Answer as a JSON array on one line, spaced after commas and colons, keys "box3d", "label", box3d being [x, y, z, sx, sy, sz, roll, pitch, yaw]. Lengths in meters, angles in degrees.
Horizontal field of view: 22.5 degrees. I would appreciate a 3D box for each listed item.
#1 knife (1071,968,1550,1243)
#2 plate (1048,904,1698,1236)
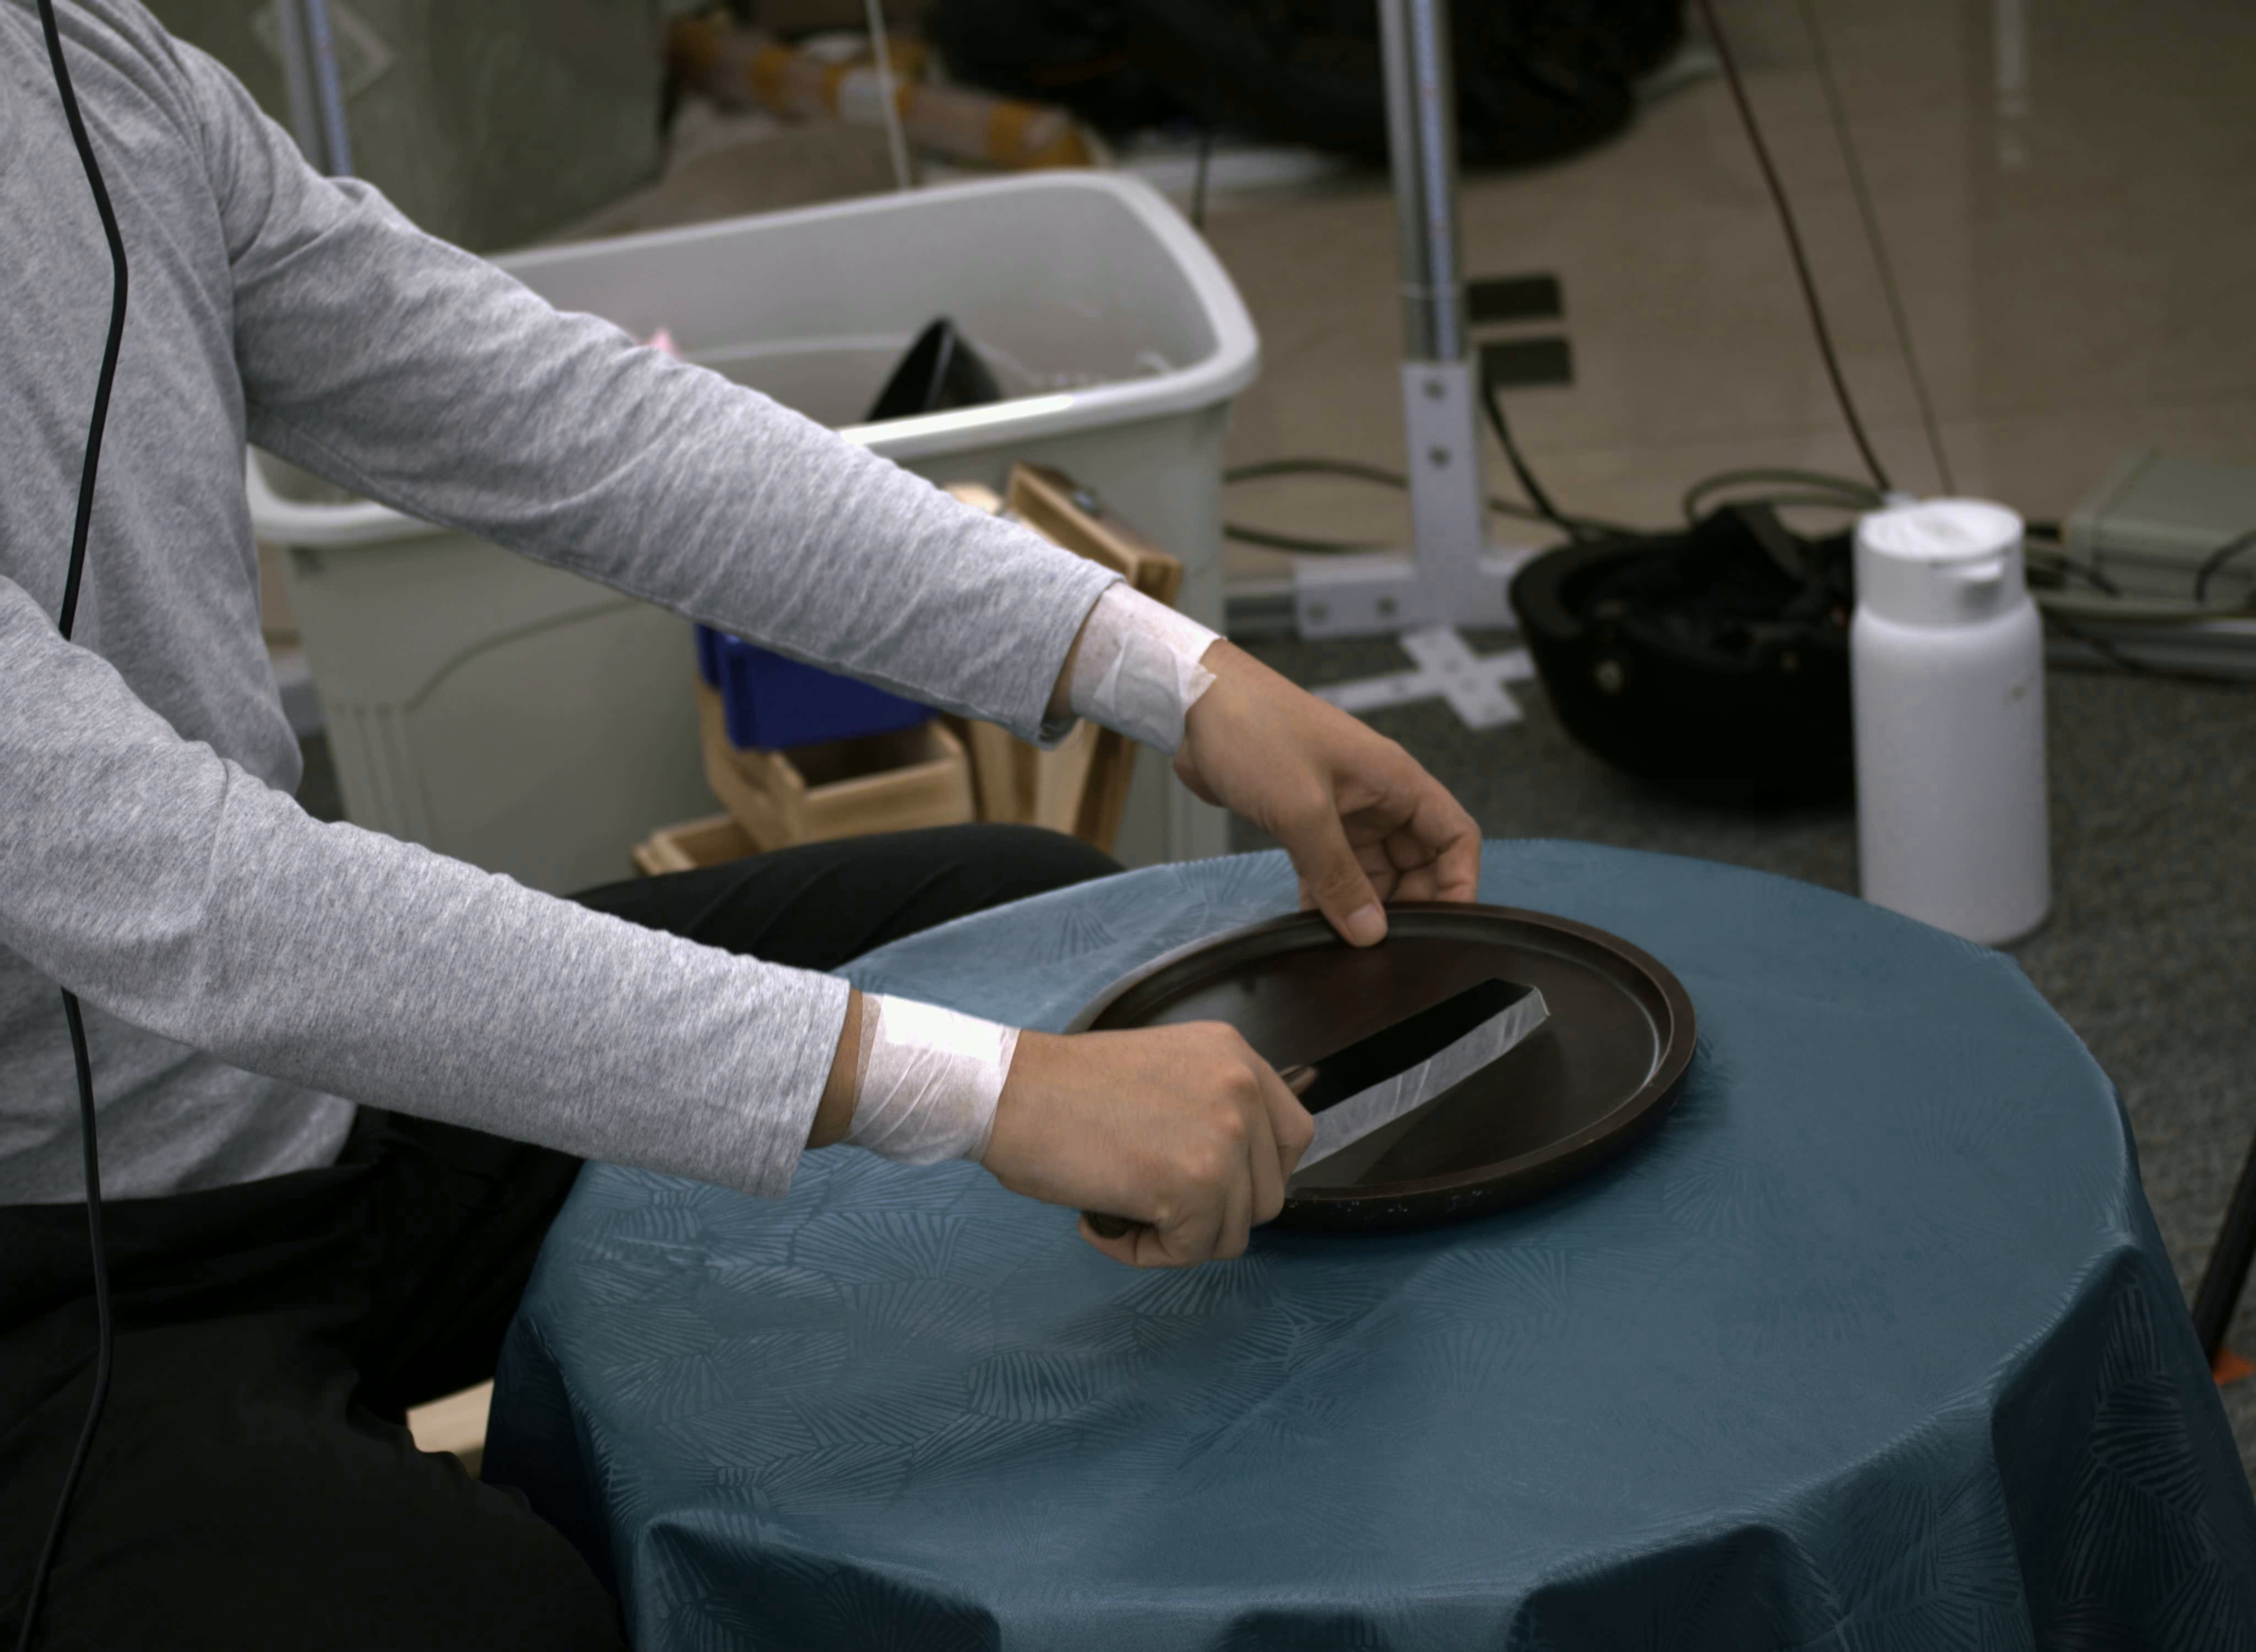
[{"box3d": [0.074, 0.102, 2.104, 0.020, 0.051, 0.287, 25, 29, 32], "label": "knife"}, {"box3d": [0.095, 0.092, 2.199, 0.254, 0.029, 0.251, -7, 26, 3], "label": "plate"}]
